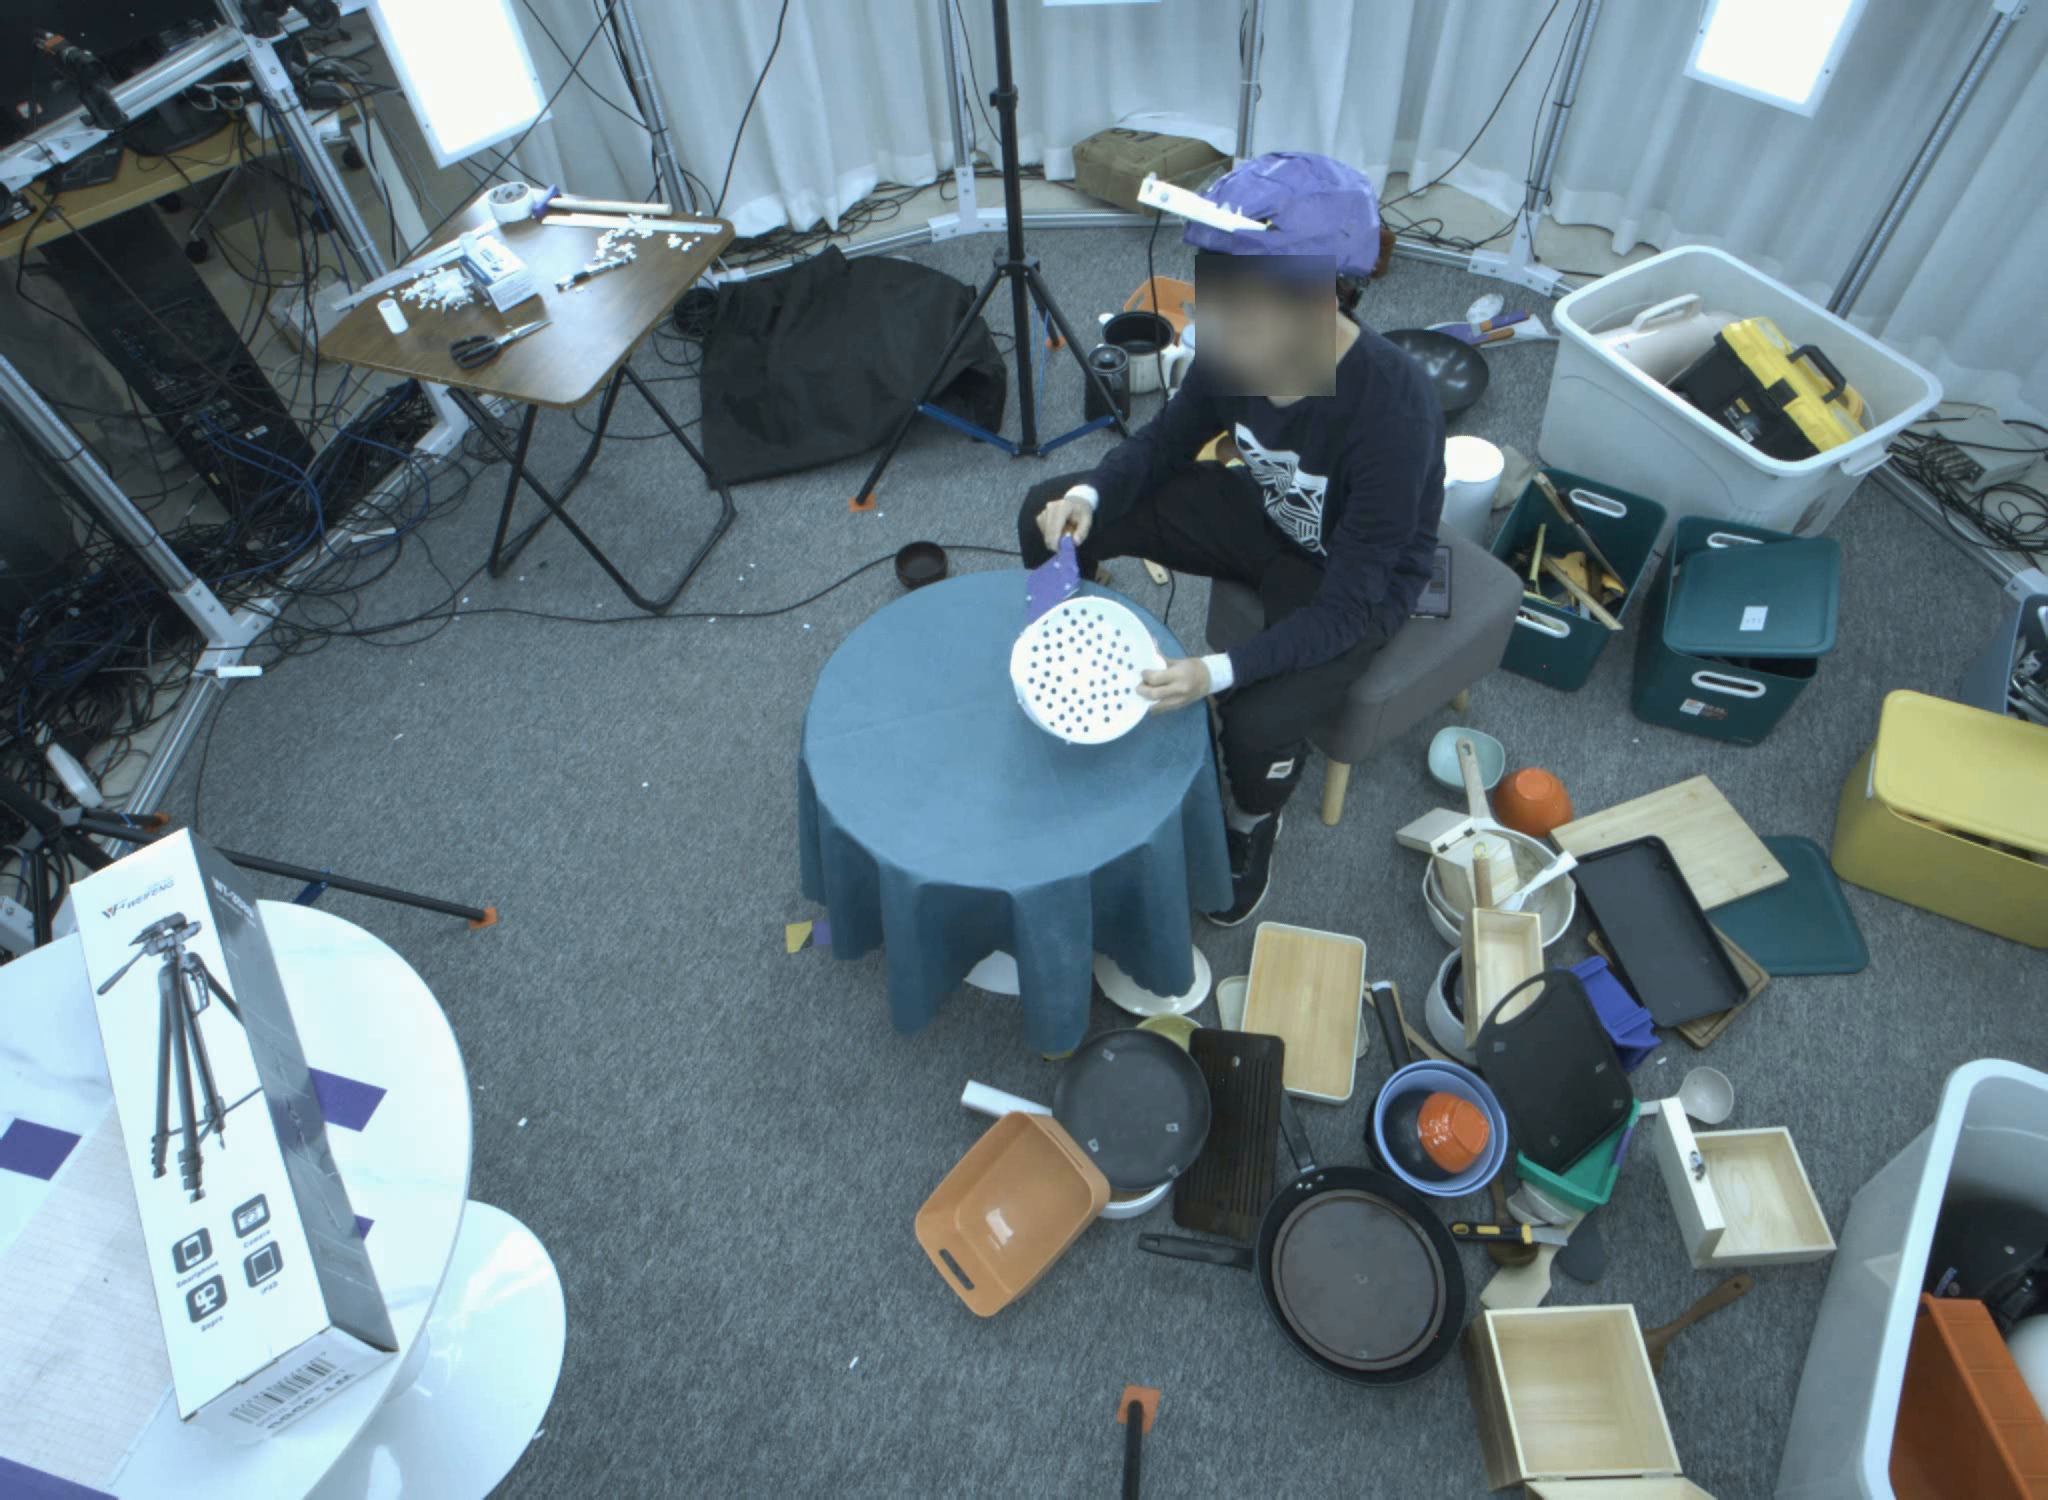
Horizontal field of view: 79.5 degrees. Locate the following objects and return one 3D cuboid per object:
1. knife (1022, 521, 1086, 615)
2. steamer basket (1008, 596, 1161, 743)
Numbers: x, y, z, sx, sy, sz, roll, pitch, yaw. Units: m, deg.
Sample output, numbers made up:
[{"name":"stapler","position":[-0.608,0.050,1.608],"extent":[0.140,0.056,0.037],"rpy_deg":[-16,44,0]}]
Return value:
[{"name":"knife","position":[0.040,-0.272,1.816],"extent":[0.103,0.032,0.312],"rpy_deg":[-35,20,14]},{"name":"steamer basket","position":[0.077,-0.113,1.721],"extent":[0.234,0.068,0.202],"rpy_deg":[7,92,-24]}]
